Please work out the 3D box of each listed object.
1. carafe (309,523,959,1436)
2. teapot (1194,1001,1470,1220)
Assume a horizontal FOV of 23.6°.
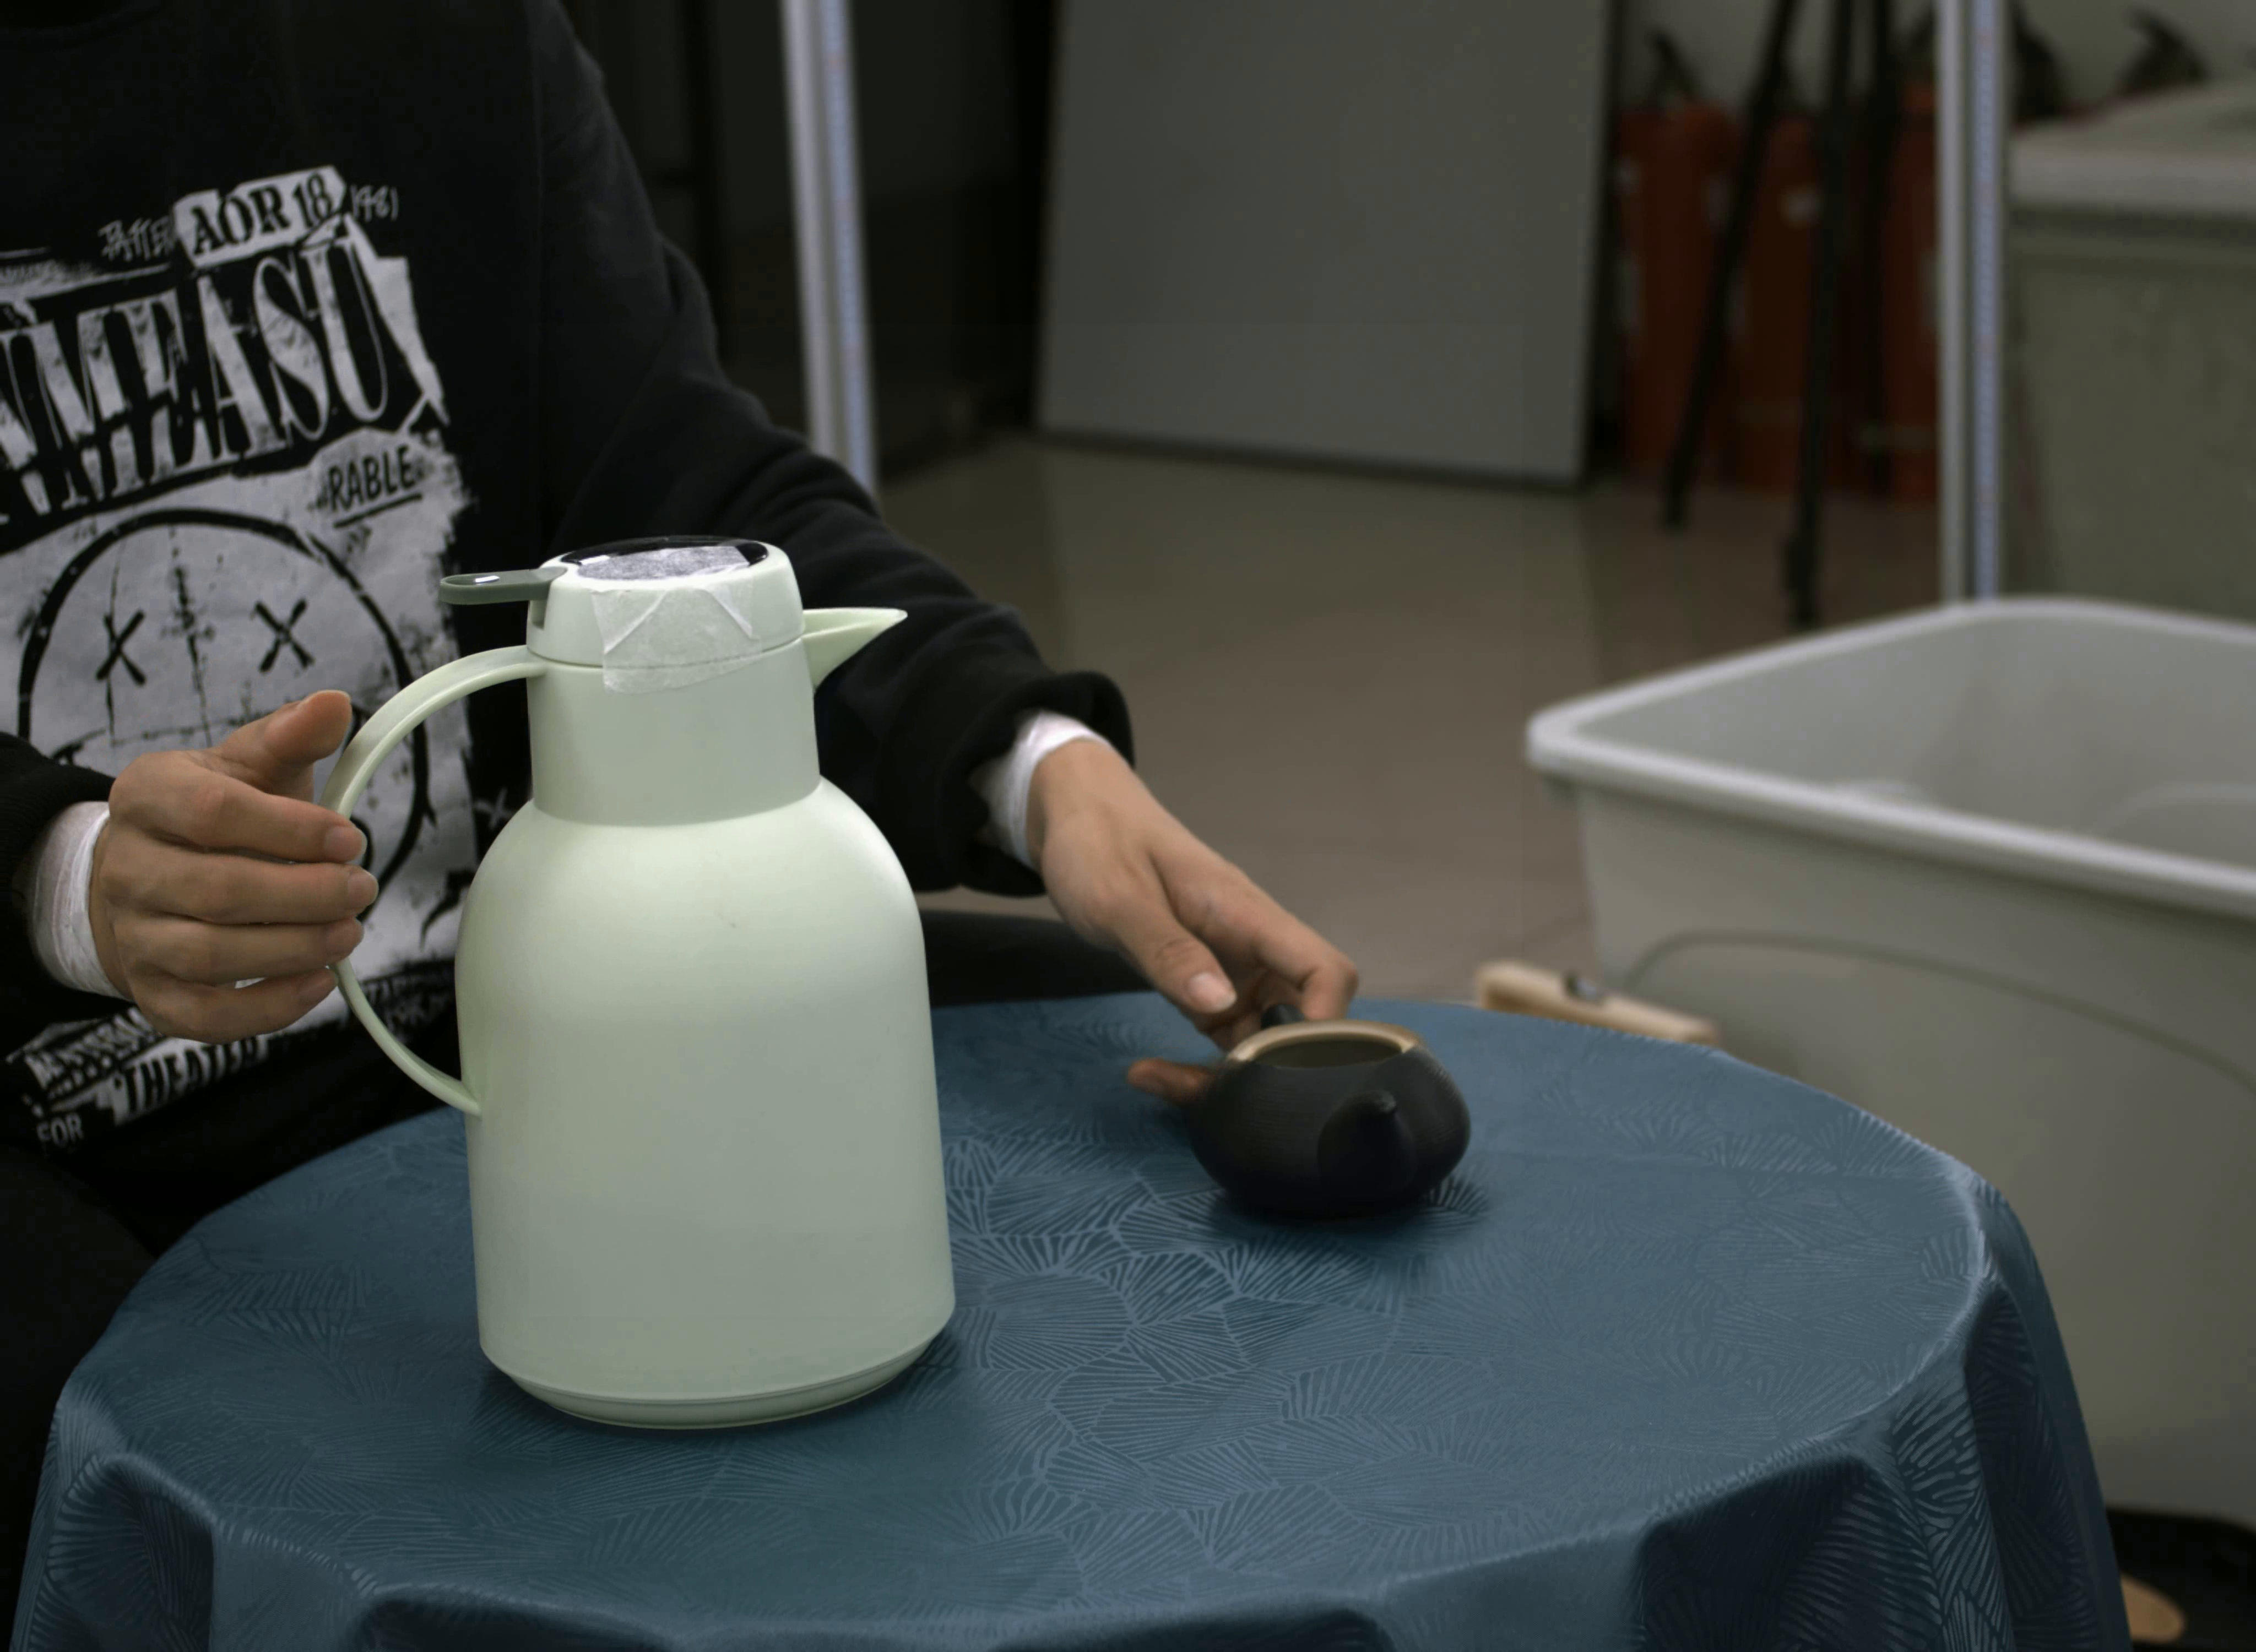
[{"bbox_3d":[-0.144,0.044,1.608,0.183,0.259,0.145,-11,16,-15],"label":"carafe"},{"bbox_3d":[0.066,0.095,1.748,0.089,0.053,0.134,-6,14,-13],"label":"teapot"}]
